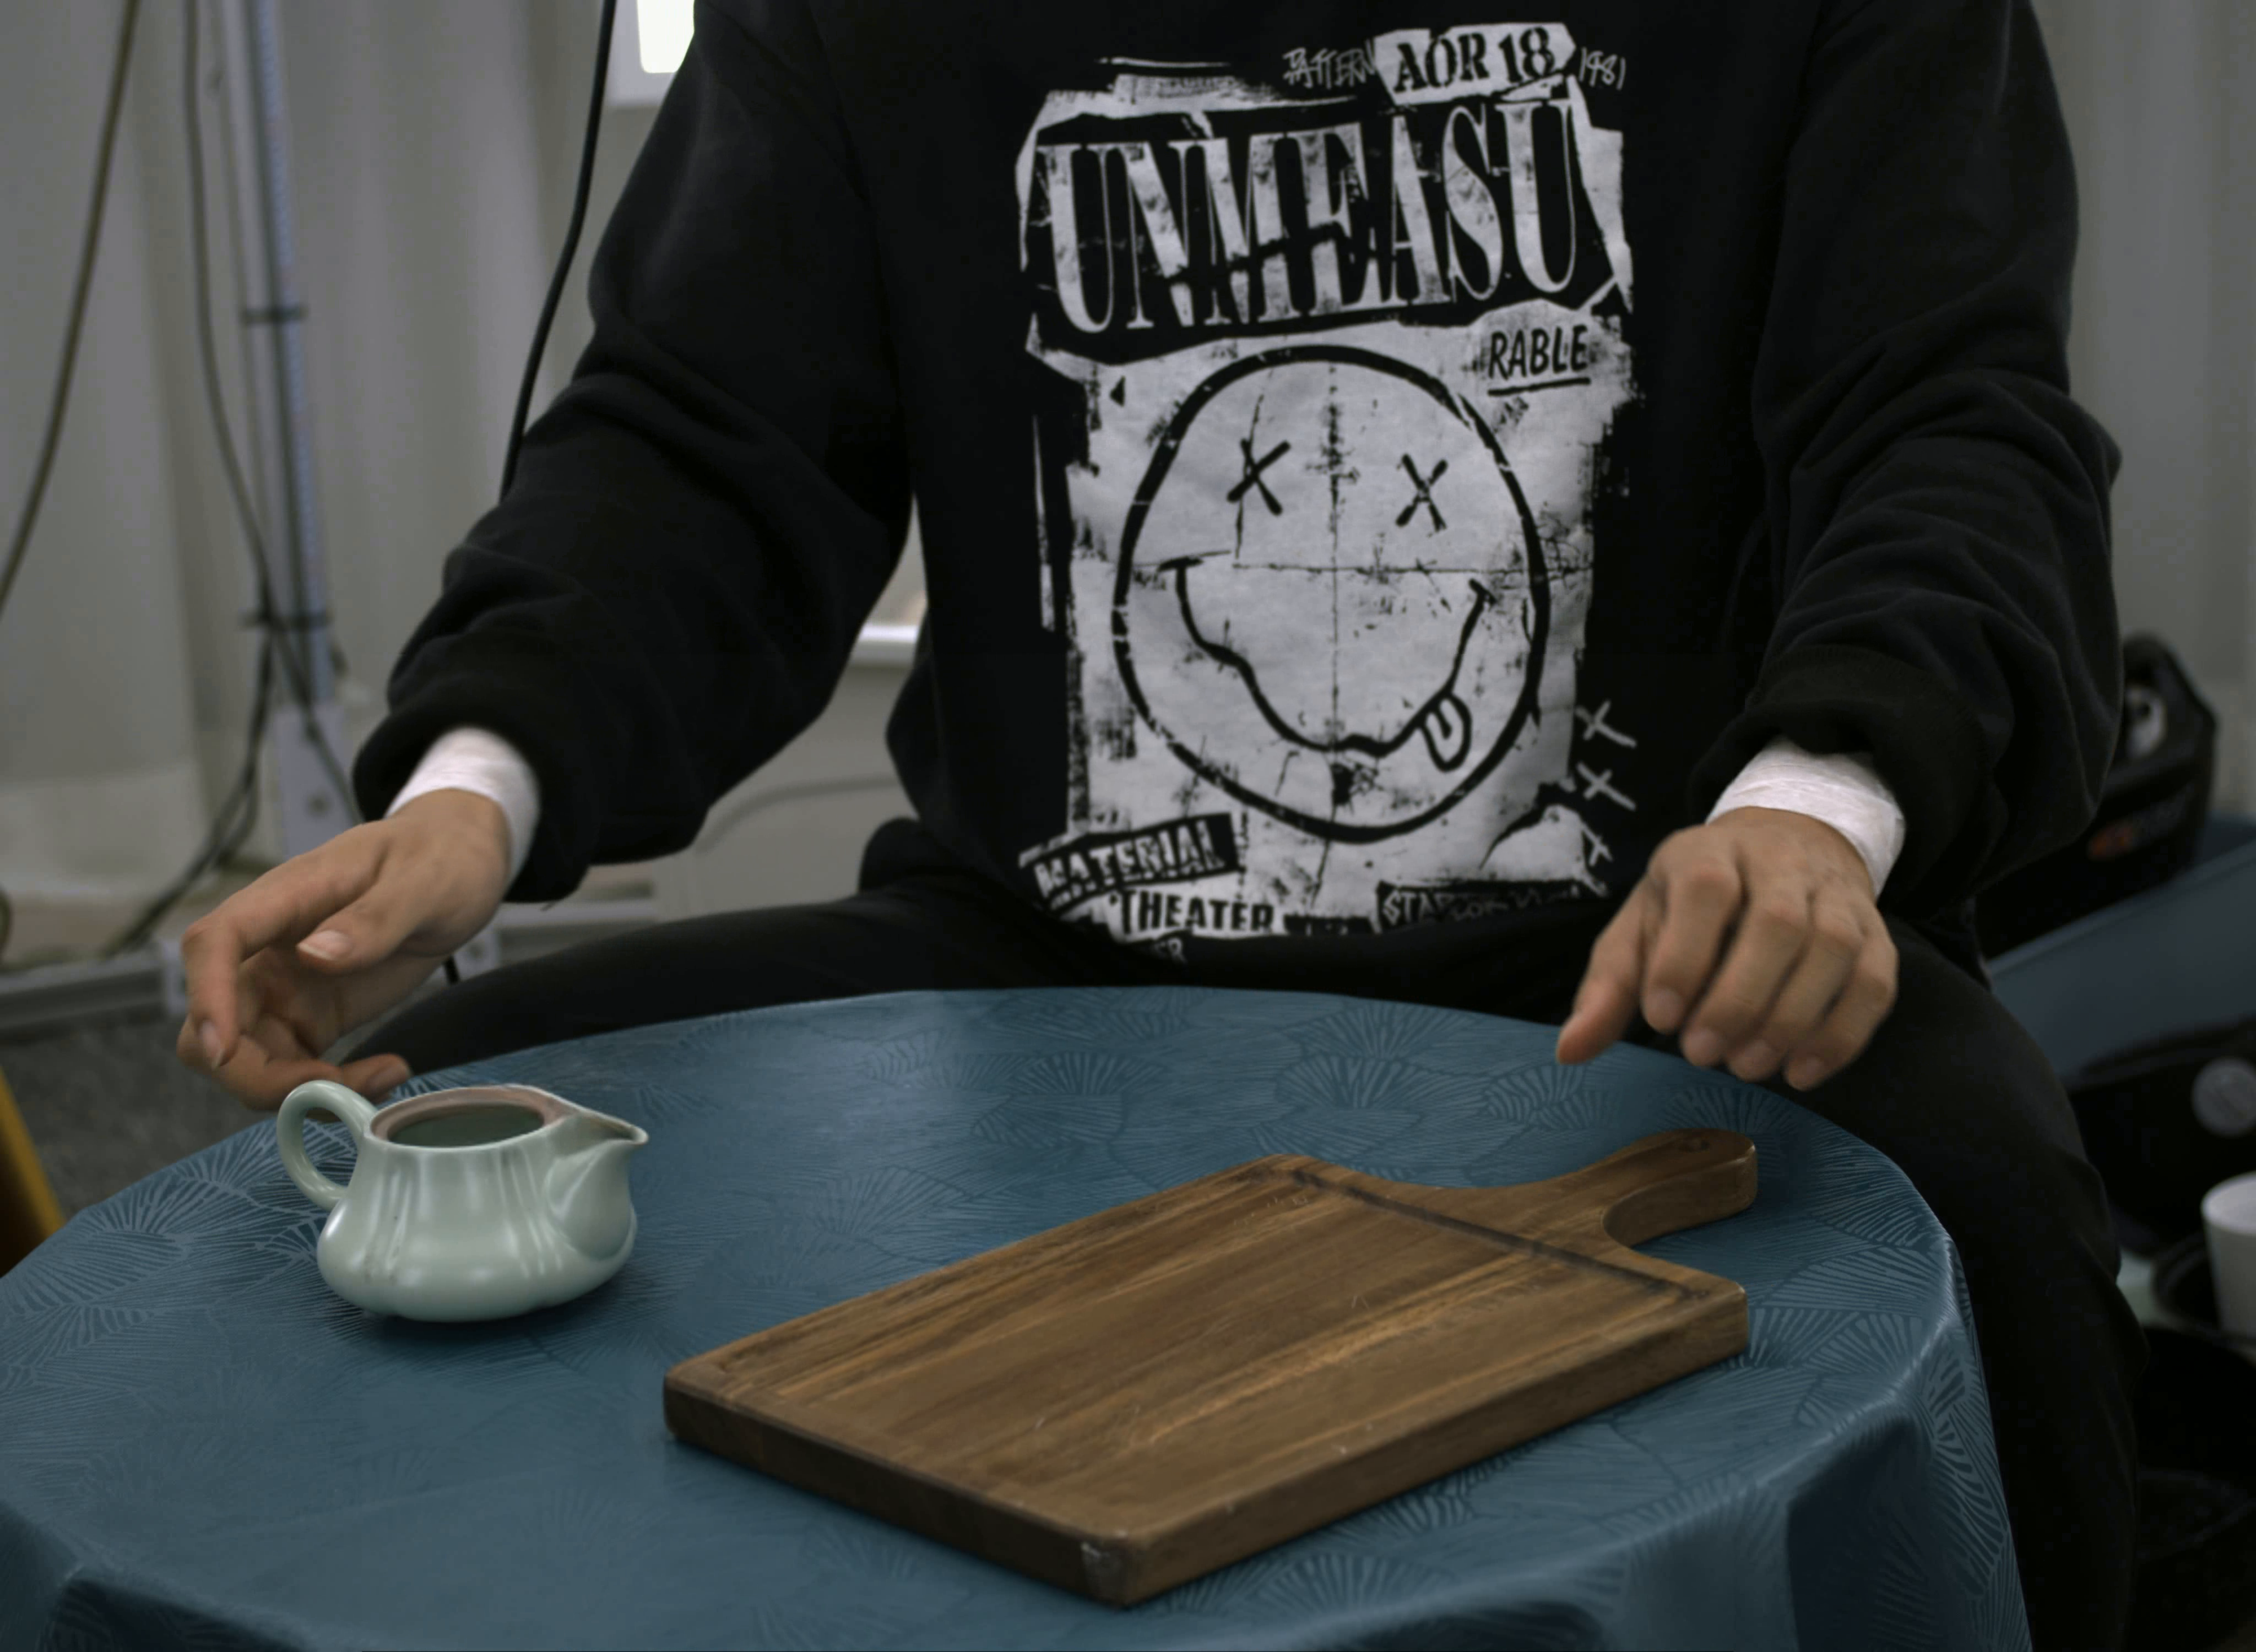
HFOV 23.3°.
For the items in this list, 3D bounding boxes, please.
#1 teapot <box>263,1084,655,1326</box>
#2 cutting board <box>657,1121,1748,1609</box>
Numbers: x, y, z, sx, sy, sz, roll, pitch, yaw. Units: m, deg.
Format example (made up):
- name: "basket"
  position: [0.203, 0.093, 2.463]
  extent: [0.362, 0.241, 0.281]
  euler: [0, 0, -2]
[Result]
- name: "teapot"
  position: [-0.201, 0.113, 1.646]
  extent: [0.137, 0.061, 0.096]
  euler: [5, 17, 27]
- name: "cutting board"
  position: [0.058, 0.139, 1.569]
  extent: [0.351, 0.023, 0.202]
  euler: [-17, 20, -41]
